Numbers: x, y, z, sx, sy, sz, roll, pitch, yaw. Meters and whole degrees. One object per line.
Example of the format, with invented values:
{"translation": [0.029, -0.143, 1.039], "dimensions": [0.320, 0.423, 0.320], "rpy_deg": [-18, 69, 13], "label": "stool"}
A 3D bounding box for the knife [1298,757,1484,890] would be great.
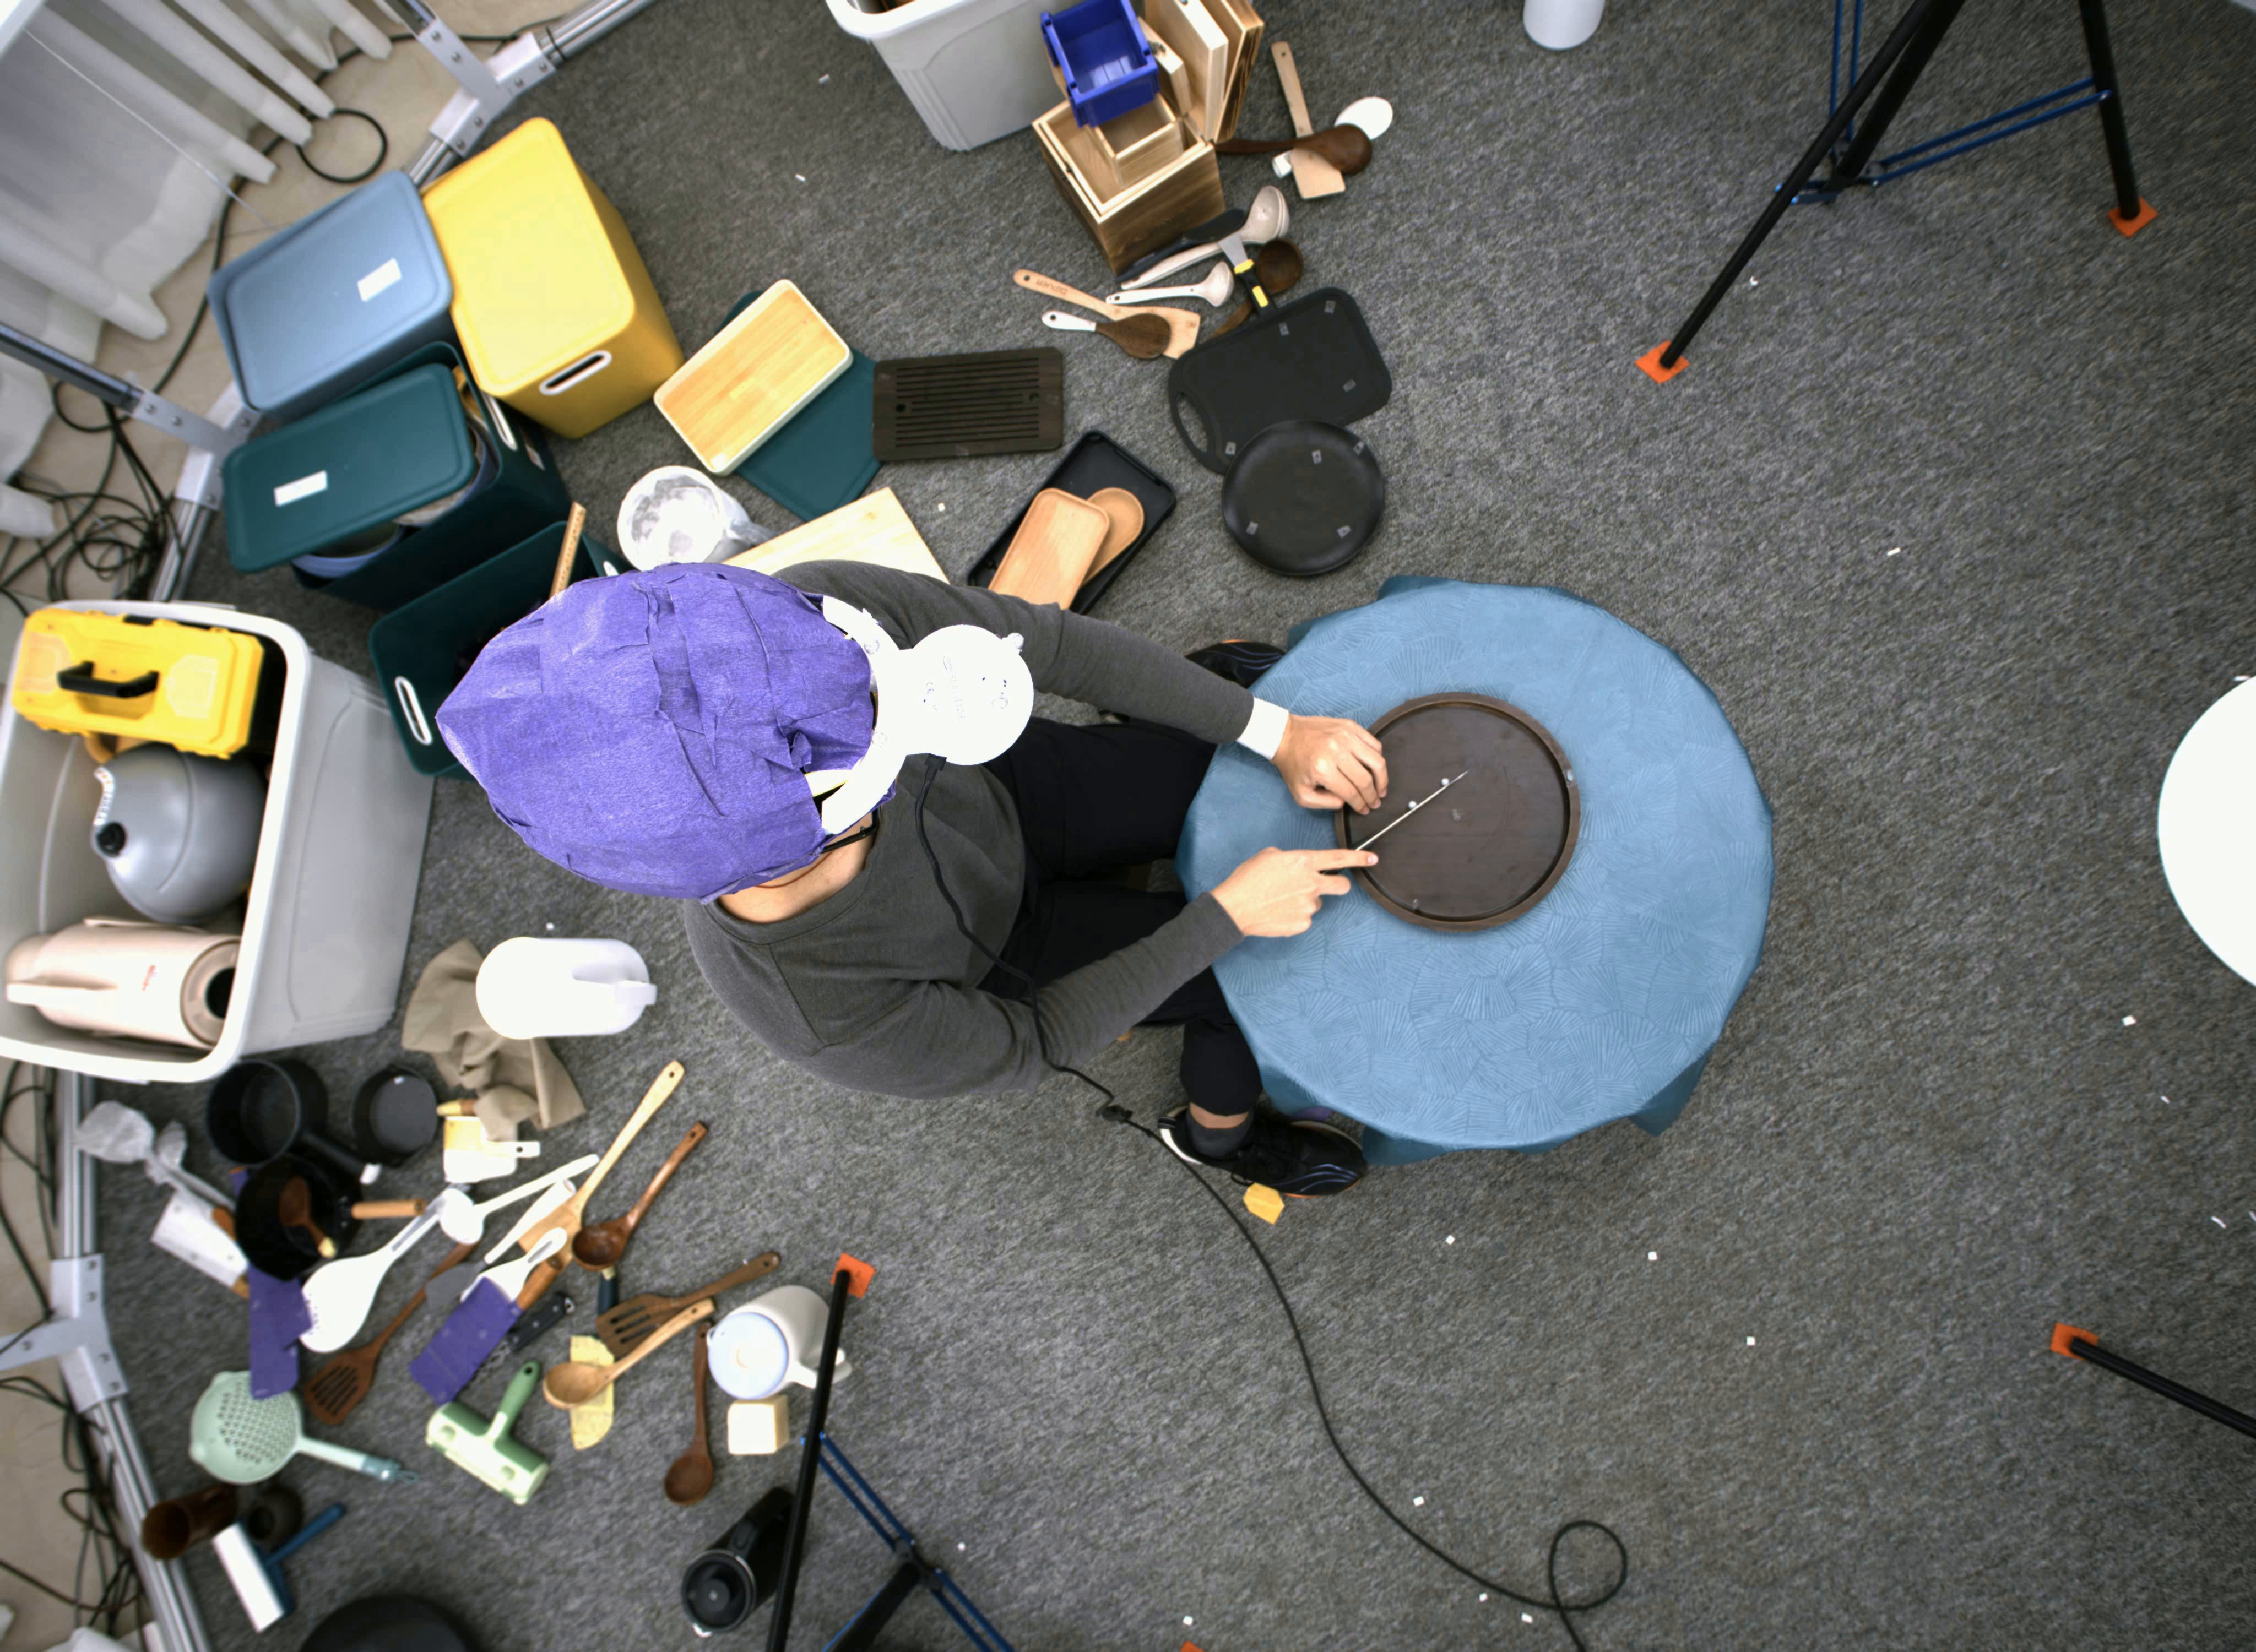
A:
{"translation": [0.274, -0.007, 1.427], "dimensions": [0.238, 0.025, 0.016], "rpy_deg": [-35, 73, -2], "label": "knife"}

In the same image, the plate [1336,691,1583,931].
{"translation": [0.345, -0.018, 1.440], "dimensions": [0.256, 0.029, 0.253], "rpy_deg": [-1, 86, 10], "label": "plate"}
